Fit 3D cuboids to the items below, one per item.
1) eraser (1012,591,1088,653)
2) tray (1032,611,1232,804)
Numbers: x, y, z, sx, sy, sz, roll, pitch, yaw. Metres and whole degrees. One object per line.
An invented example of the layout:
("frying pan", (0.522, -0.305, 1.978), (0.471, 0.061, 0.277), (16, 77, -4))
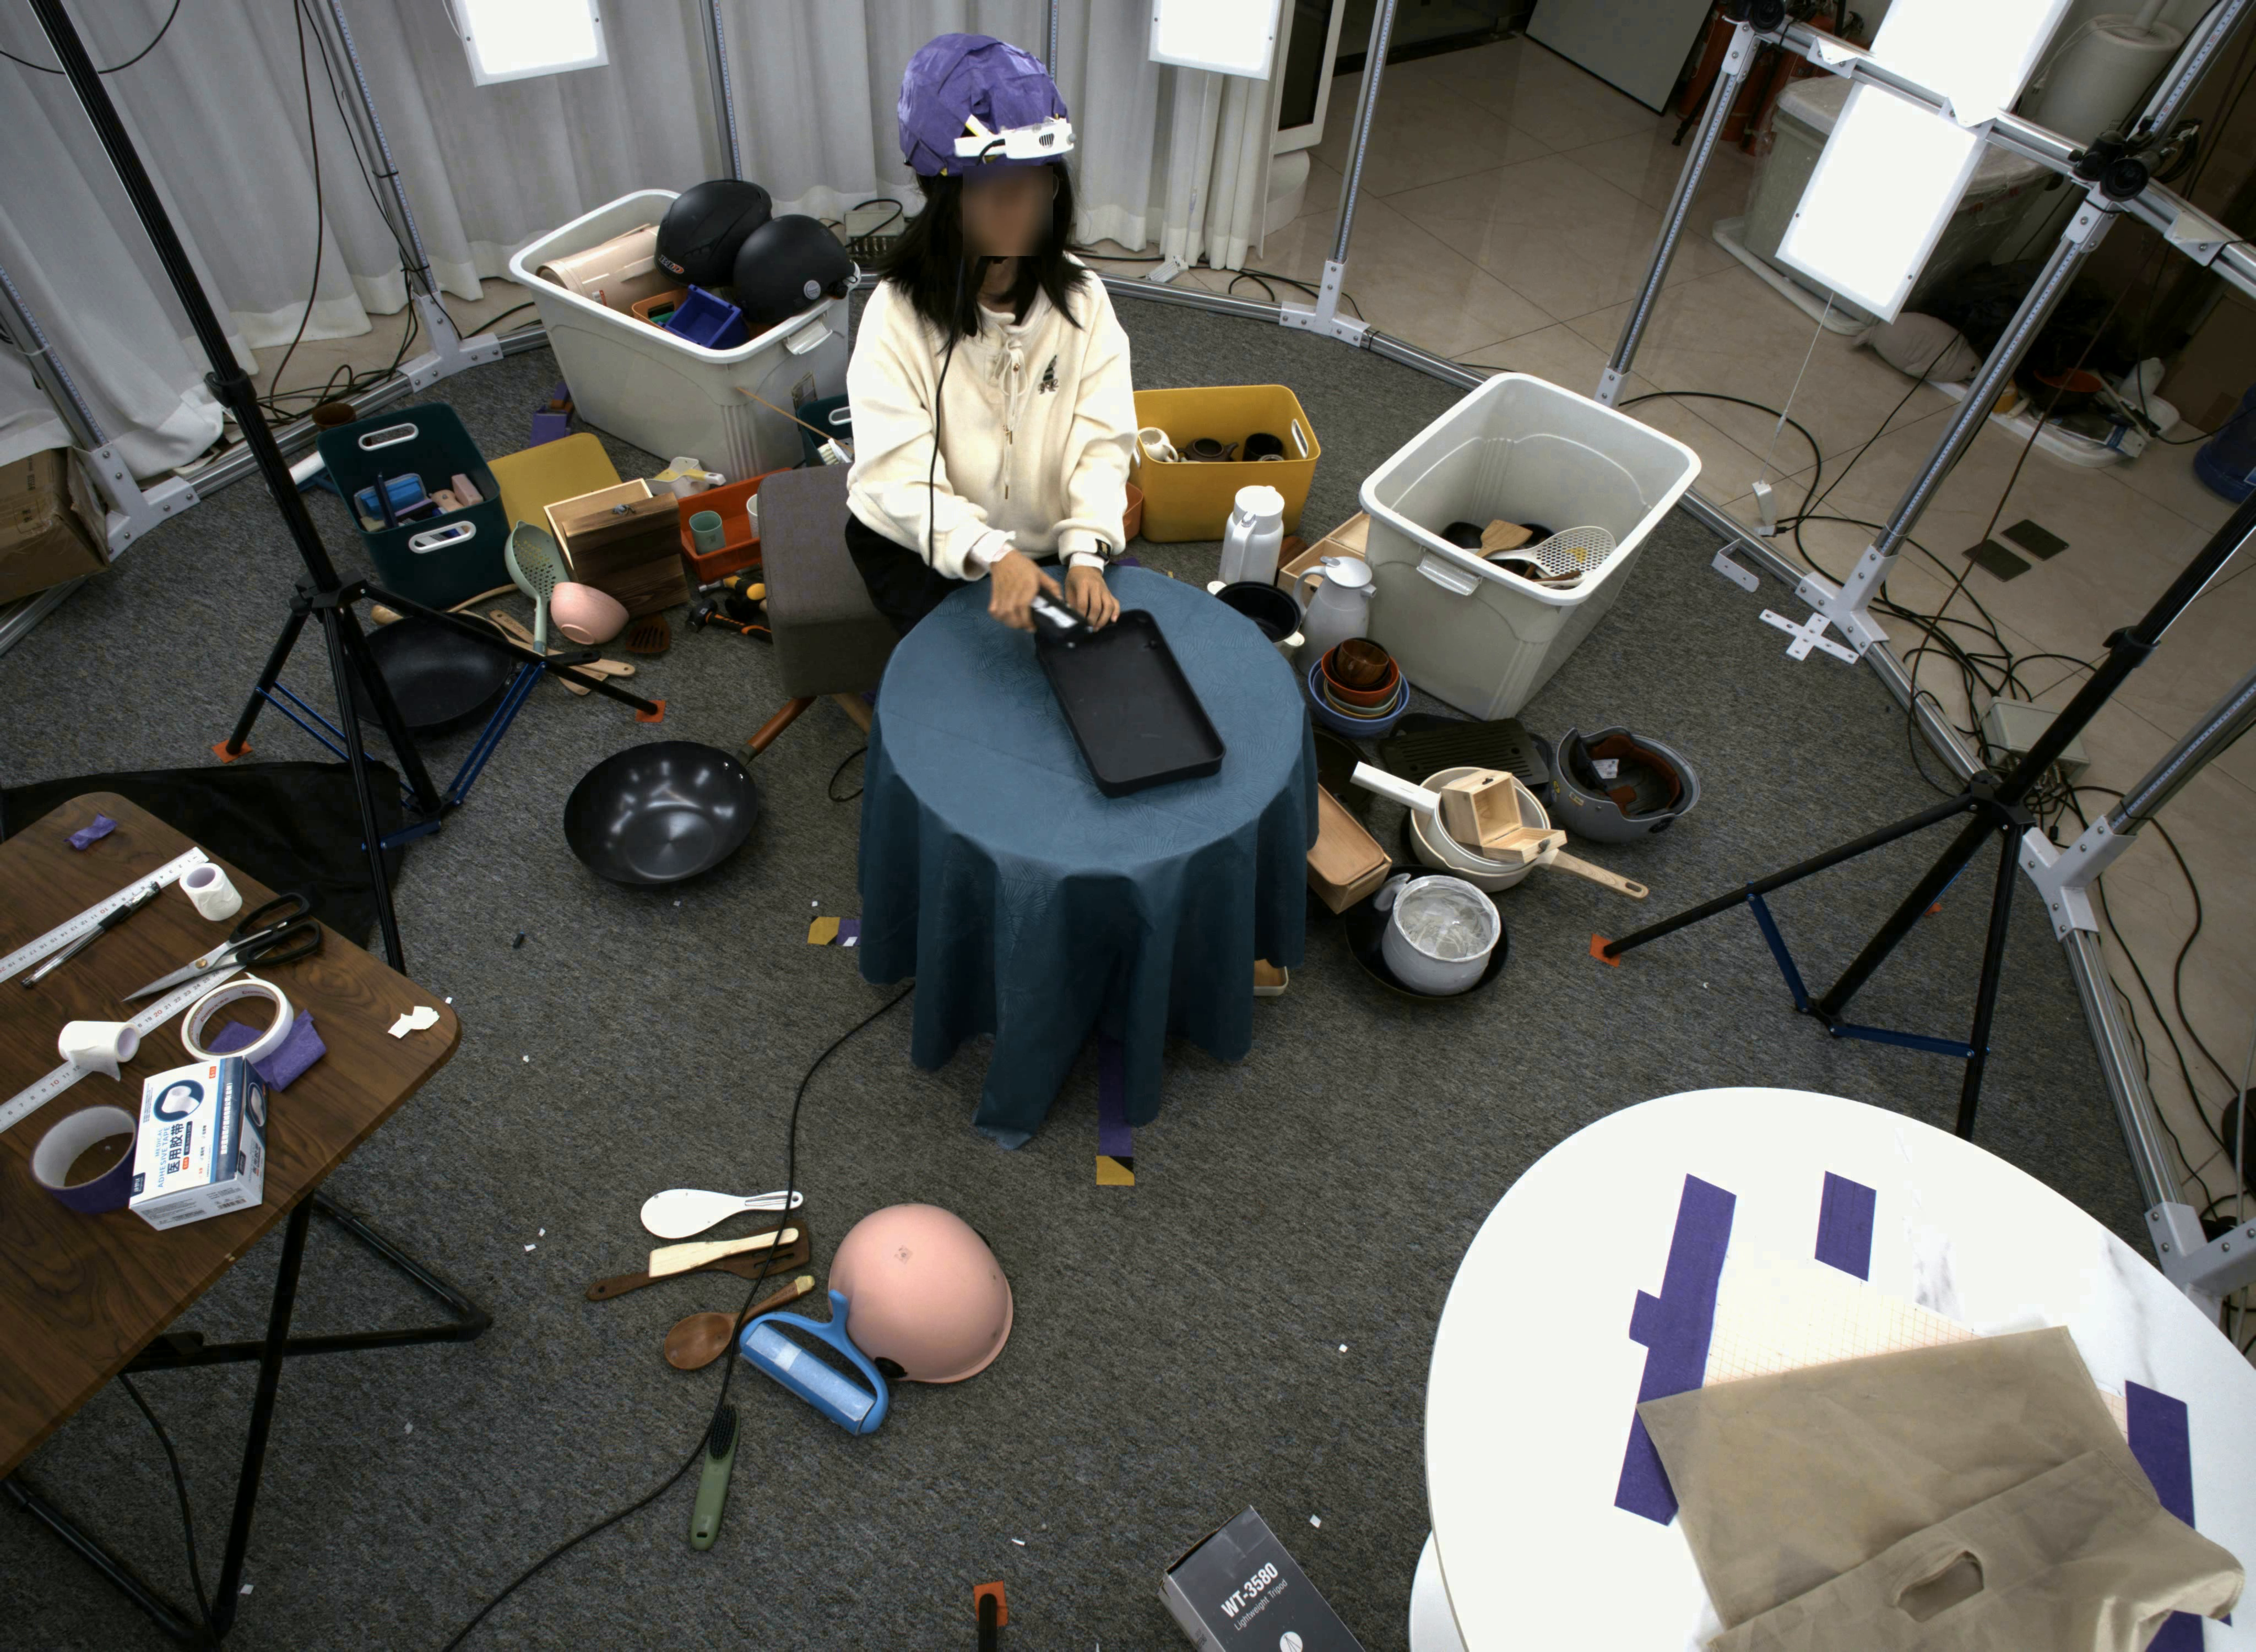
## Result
("eraser", (-0.109, -0.288, 1.801), (0.054, 0.030, 0.128), (-33, 43, -15))
("tray", (0.000, -0.172, 1.795), (0.184, 0.036, 0.325), (-16, 52, -17))
